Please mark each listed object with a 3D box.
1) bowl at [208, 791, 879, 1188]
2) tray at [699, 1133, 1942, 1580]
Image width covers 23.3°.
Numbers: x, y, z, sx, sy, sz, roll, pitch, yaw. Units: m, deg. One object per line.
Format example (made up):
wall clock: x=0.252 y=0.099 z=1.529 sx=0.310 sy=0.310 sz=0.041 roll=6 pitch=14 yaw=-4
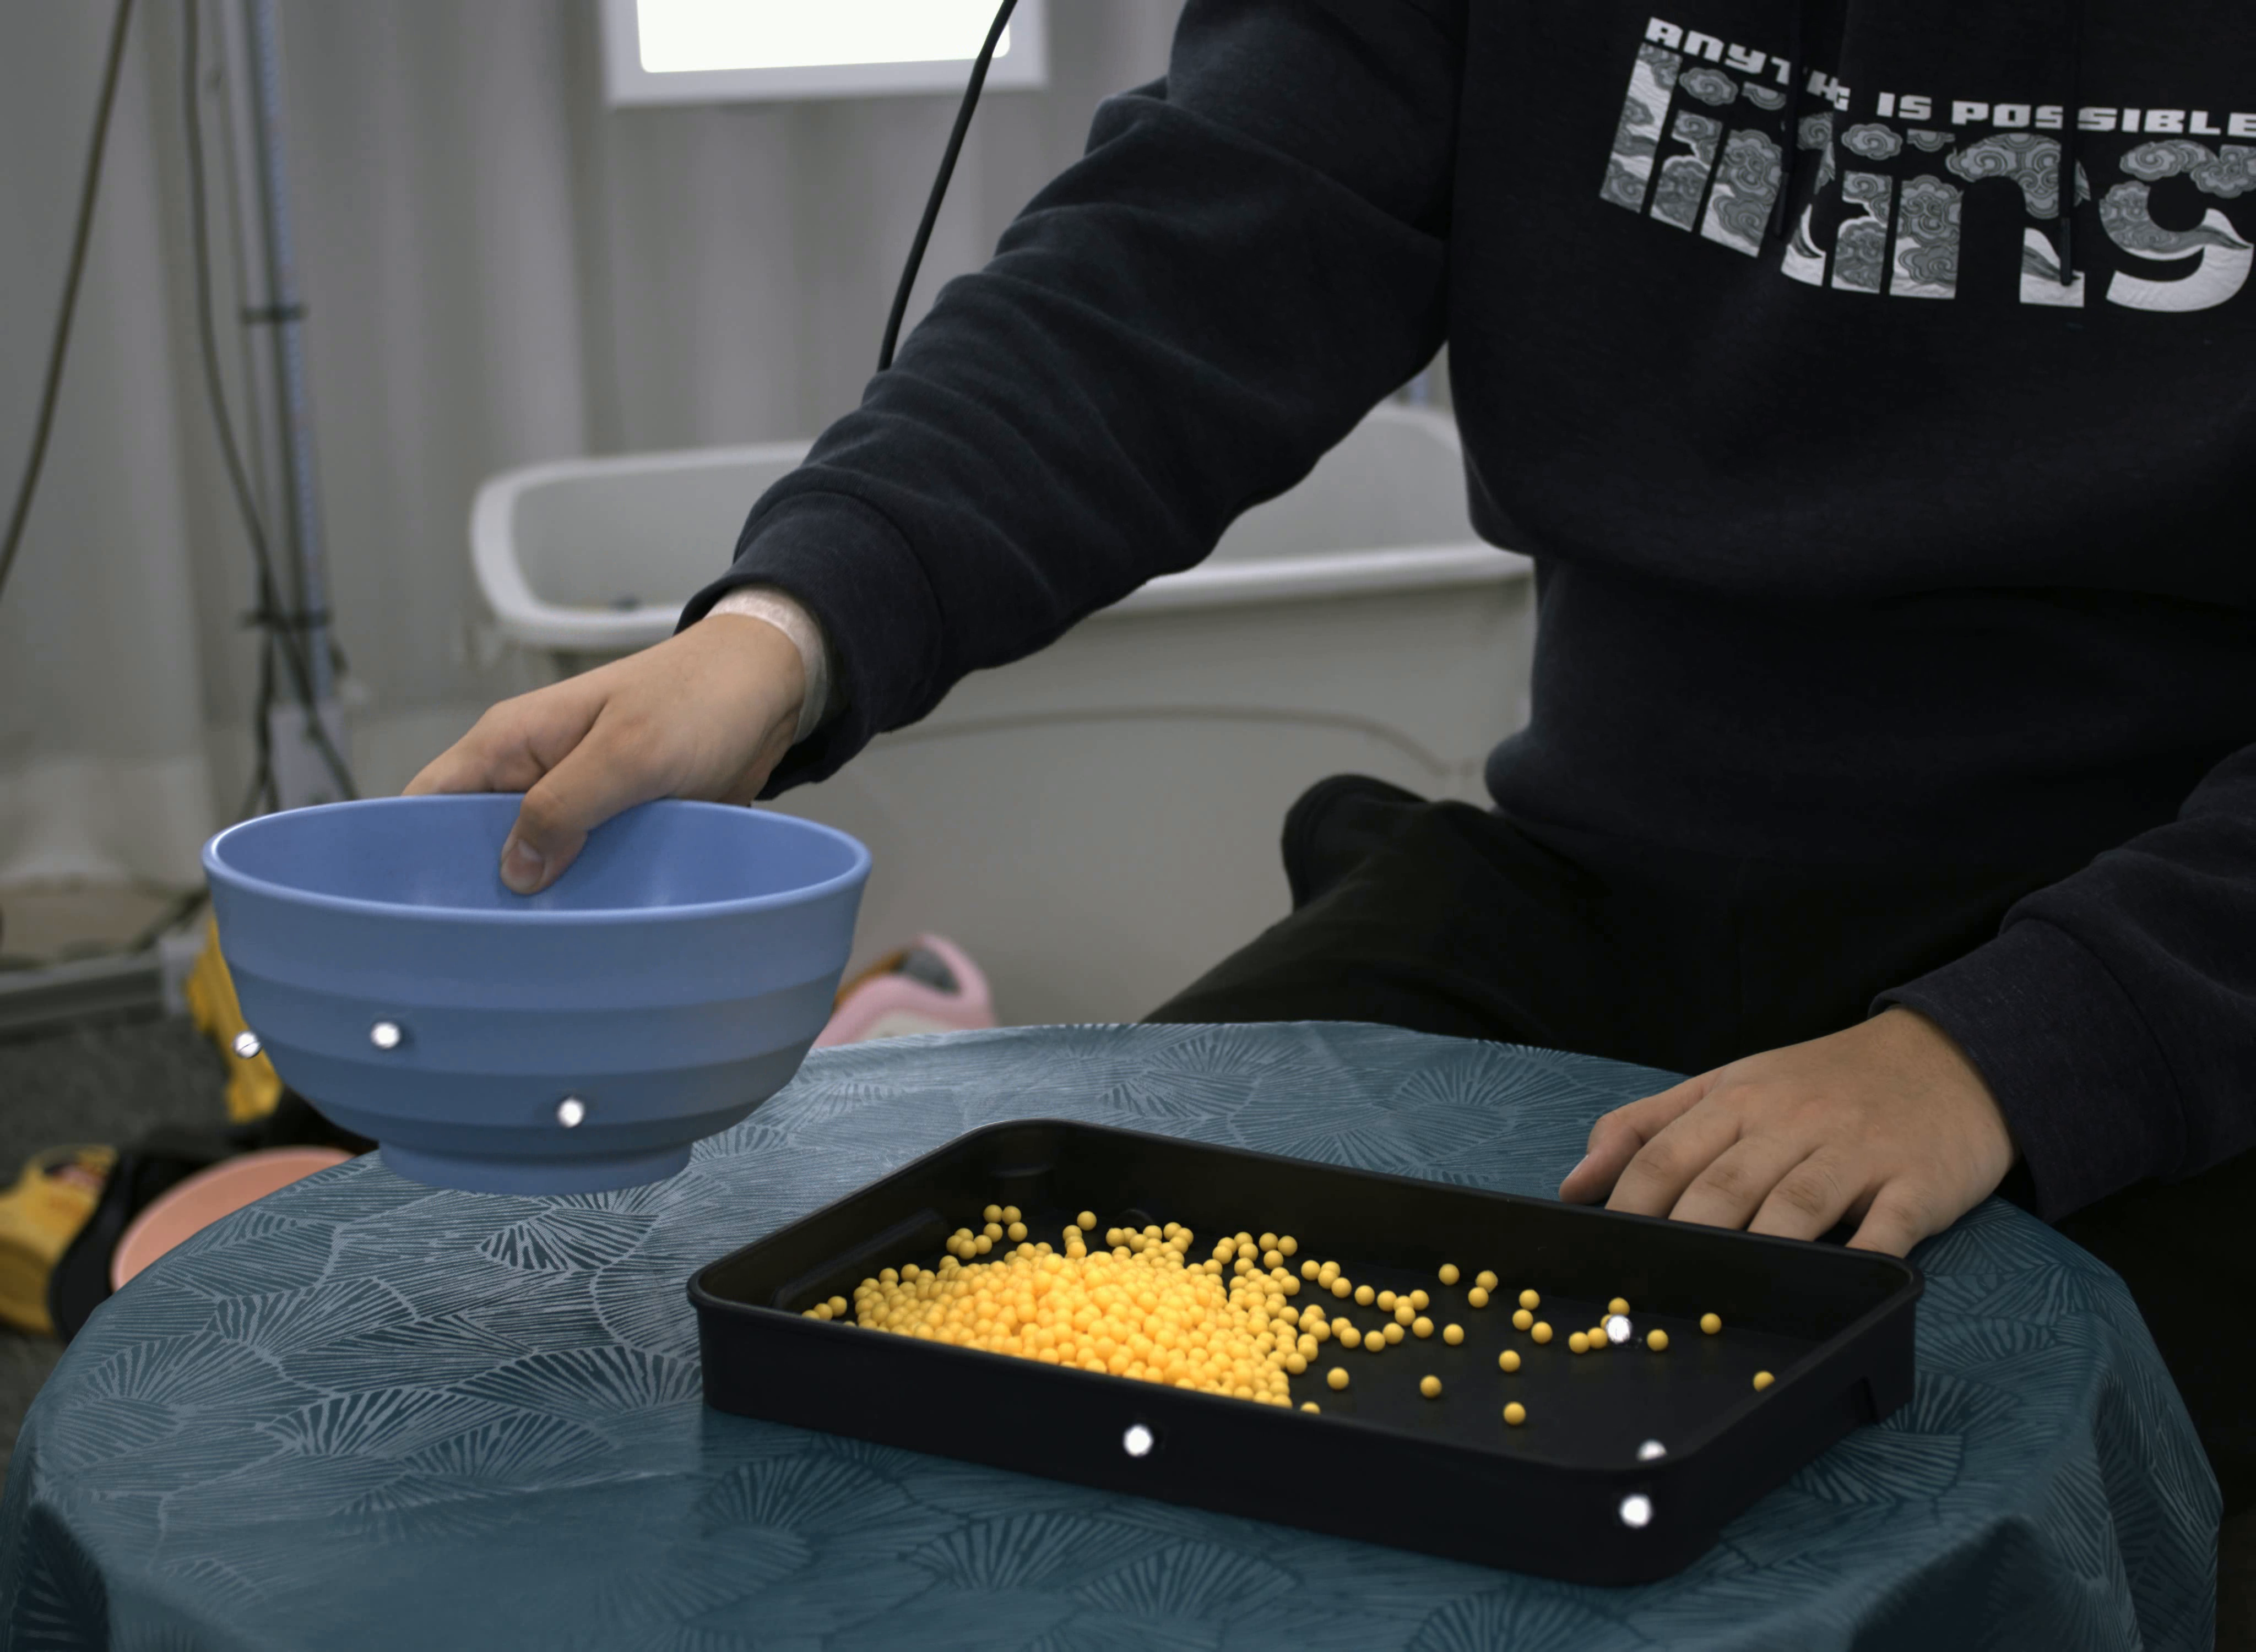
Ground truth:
bowl: x=-0.171 y=0.050 z=1.612 sx=0.196 sy=0.095 sz=0.197 roll=0 pitch=9 yaw=0
tray: x=0.053 y=0.144 z=1.534 sx=0.319 sy=0.037 sz=0.184 roll=5 pitch=16 yaw=31
